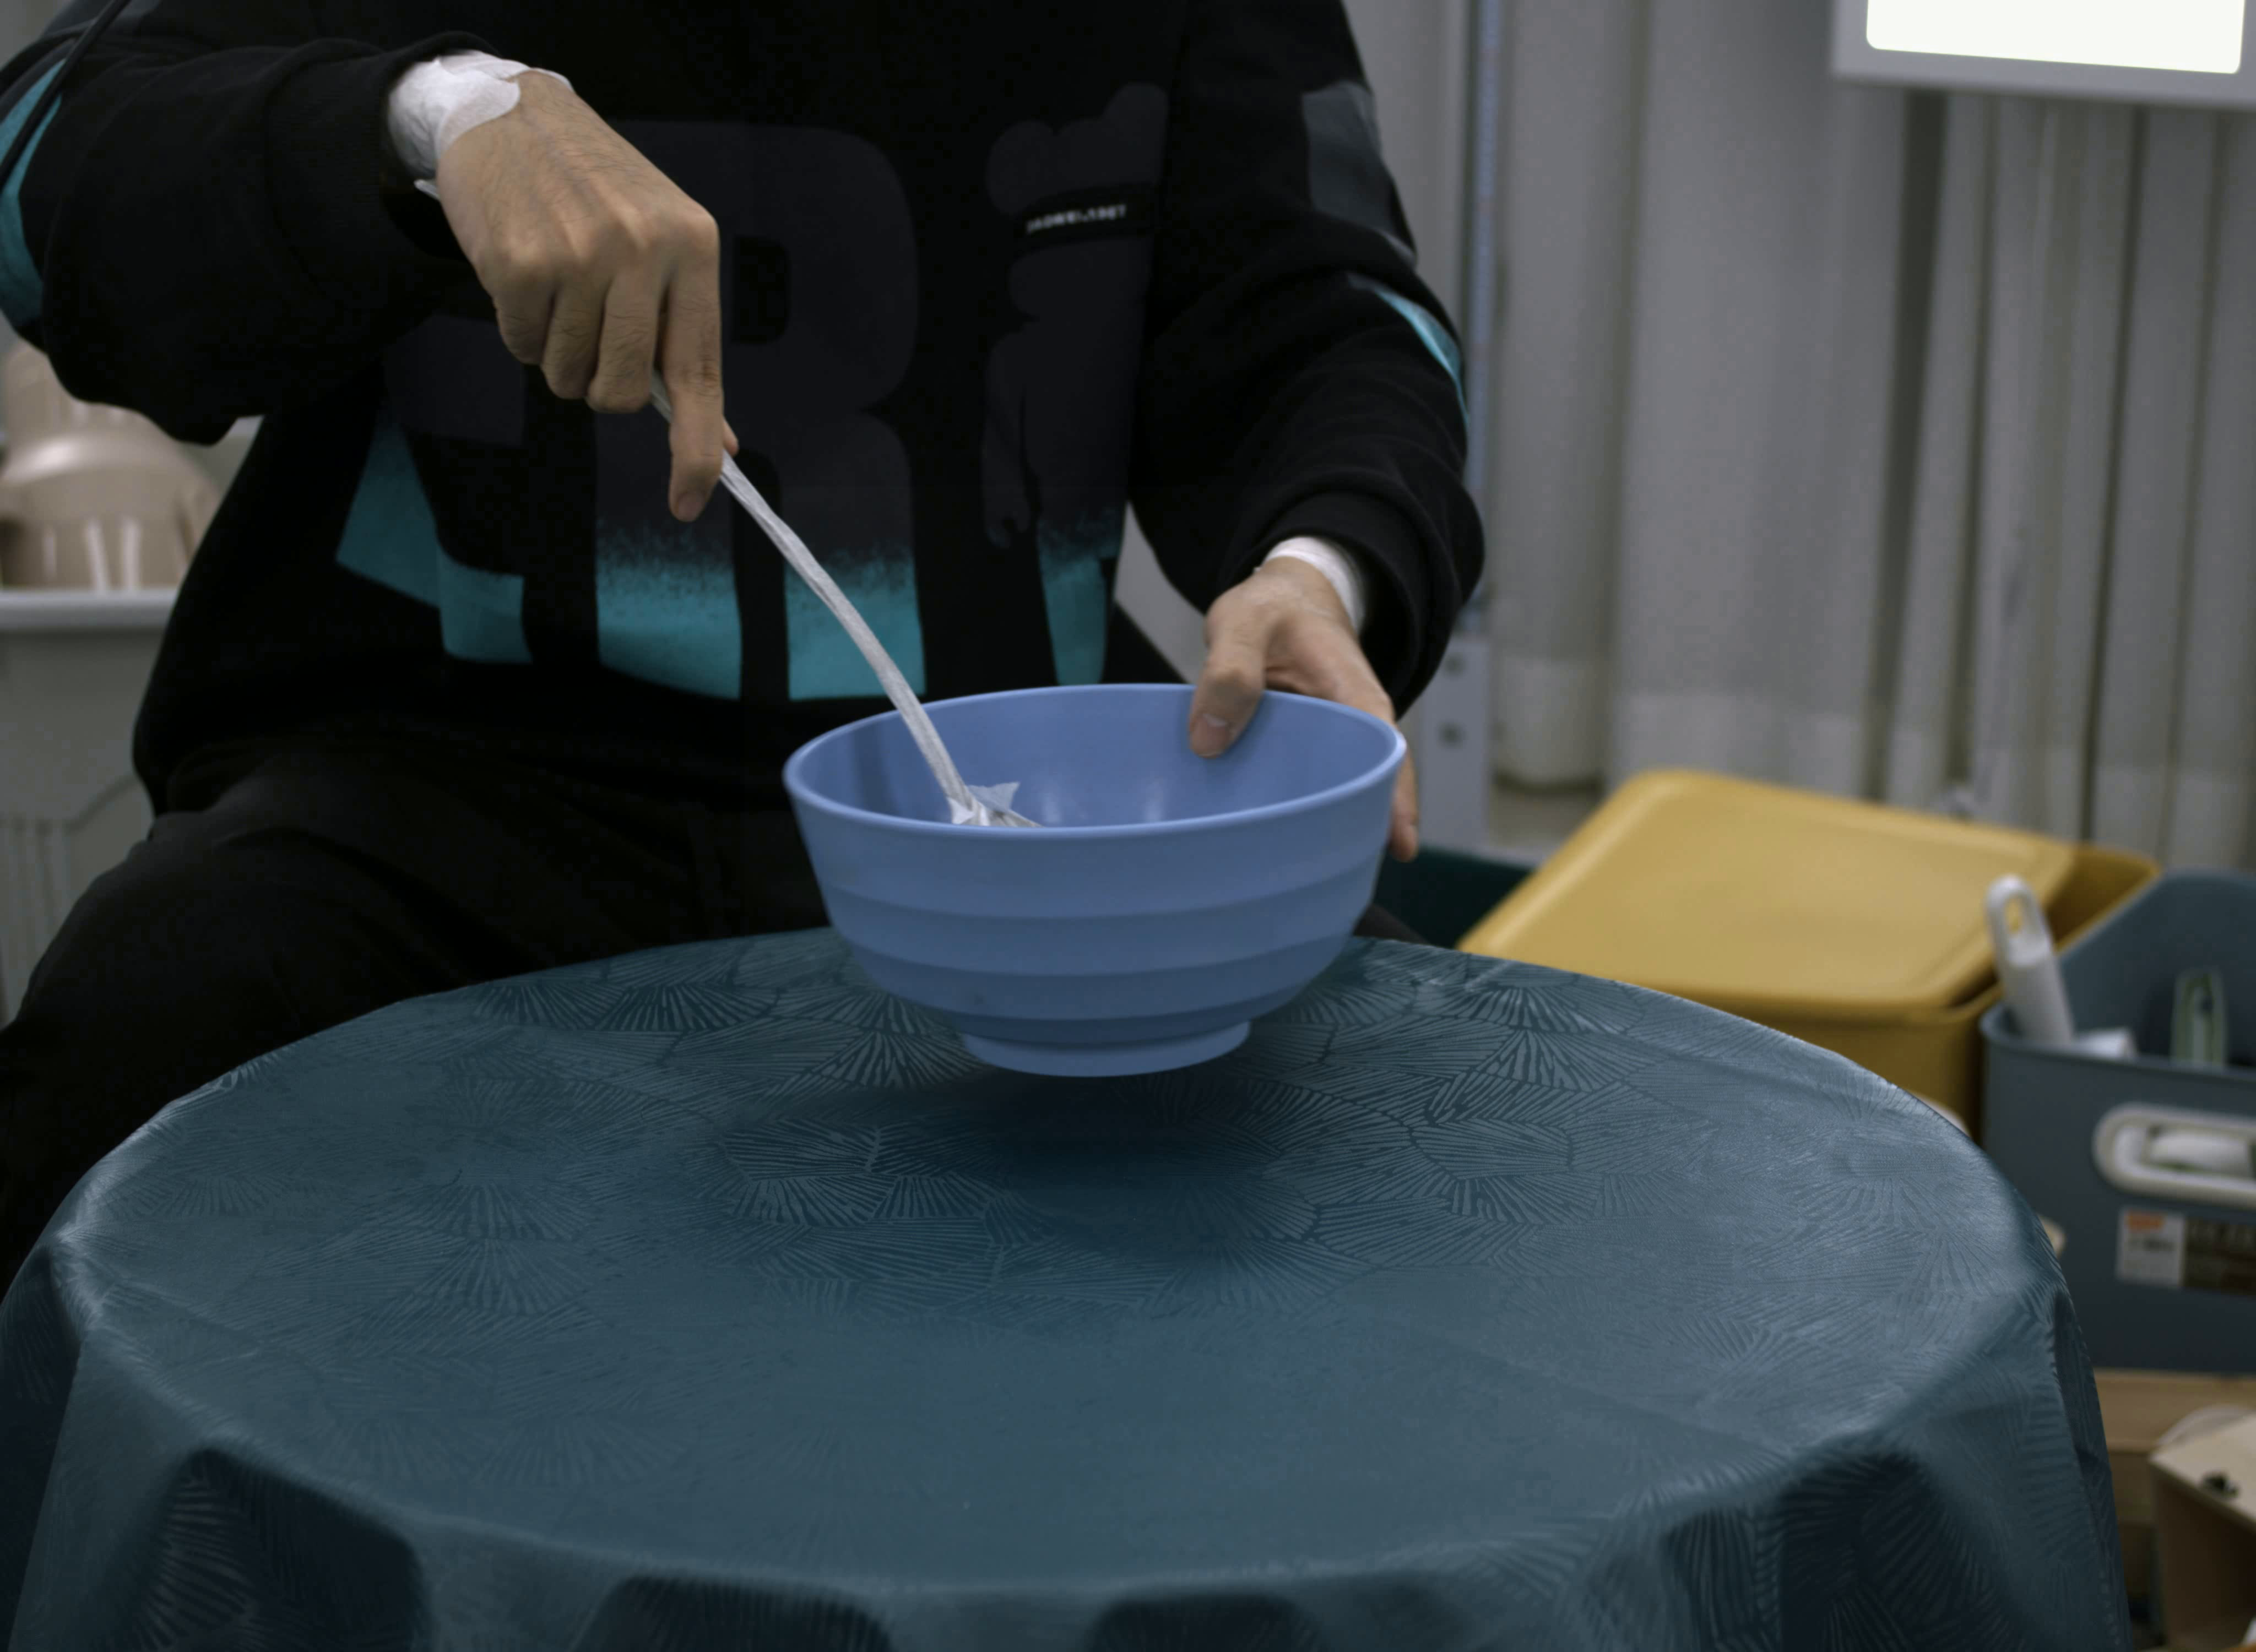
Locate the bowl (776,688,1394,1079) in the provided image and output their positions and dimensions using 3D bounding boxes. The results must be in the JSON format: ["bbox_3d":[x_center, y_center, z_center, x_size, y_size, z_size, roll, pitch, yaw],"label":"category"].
[{"bbox_3d":[-0.011,0.022,1.676,0.196,0.096,0.195,-4,14,1],"label":"bowl"}]

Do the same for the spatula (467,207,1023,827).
[{"bbox_3d":[-0.093,-0.080,1.709,0.364,0.045,0.099,50,19,6],"label":"spatula"}]
